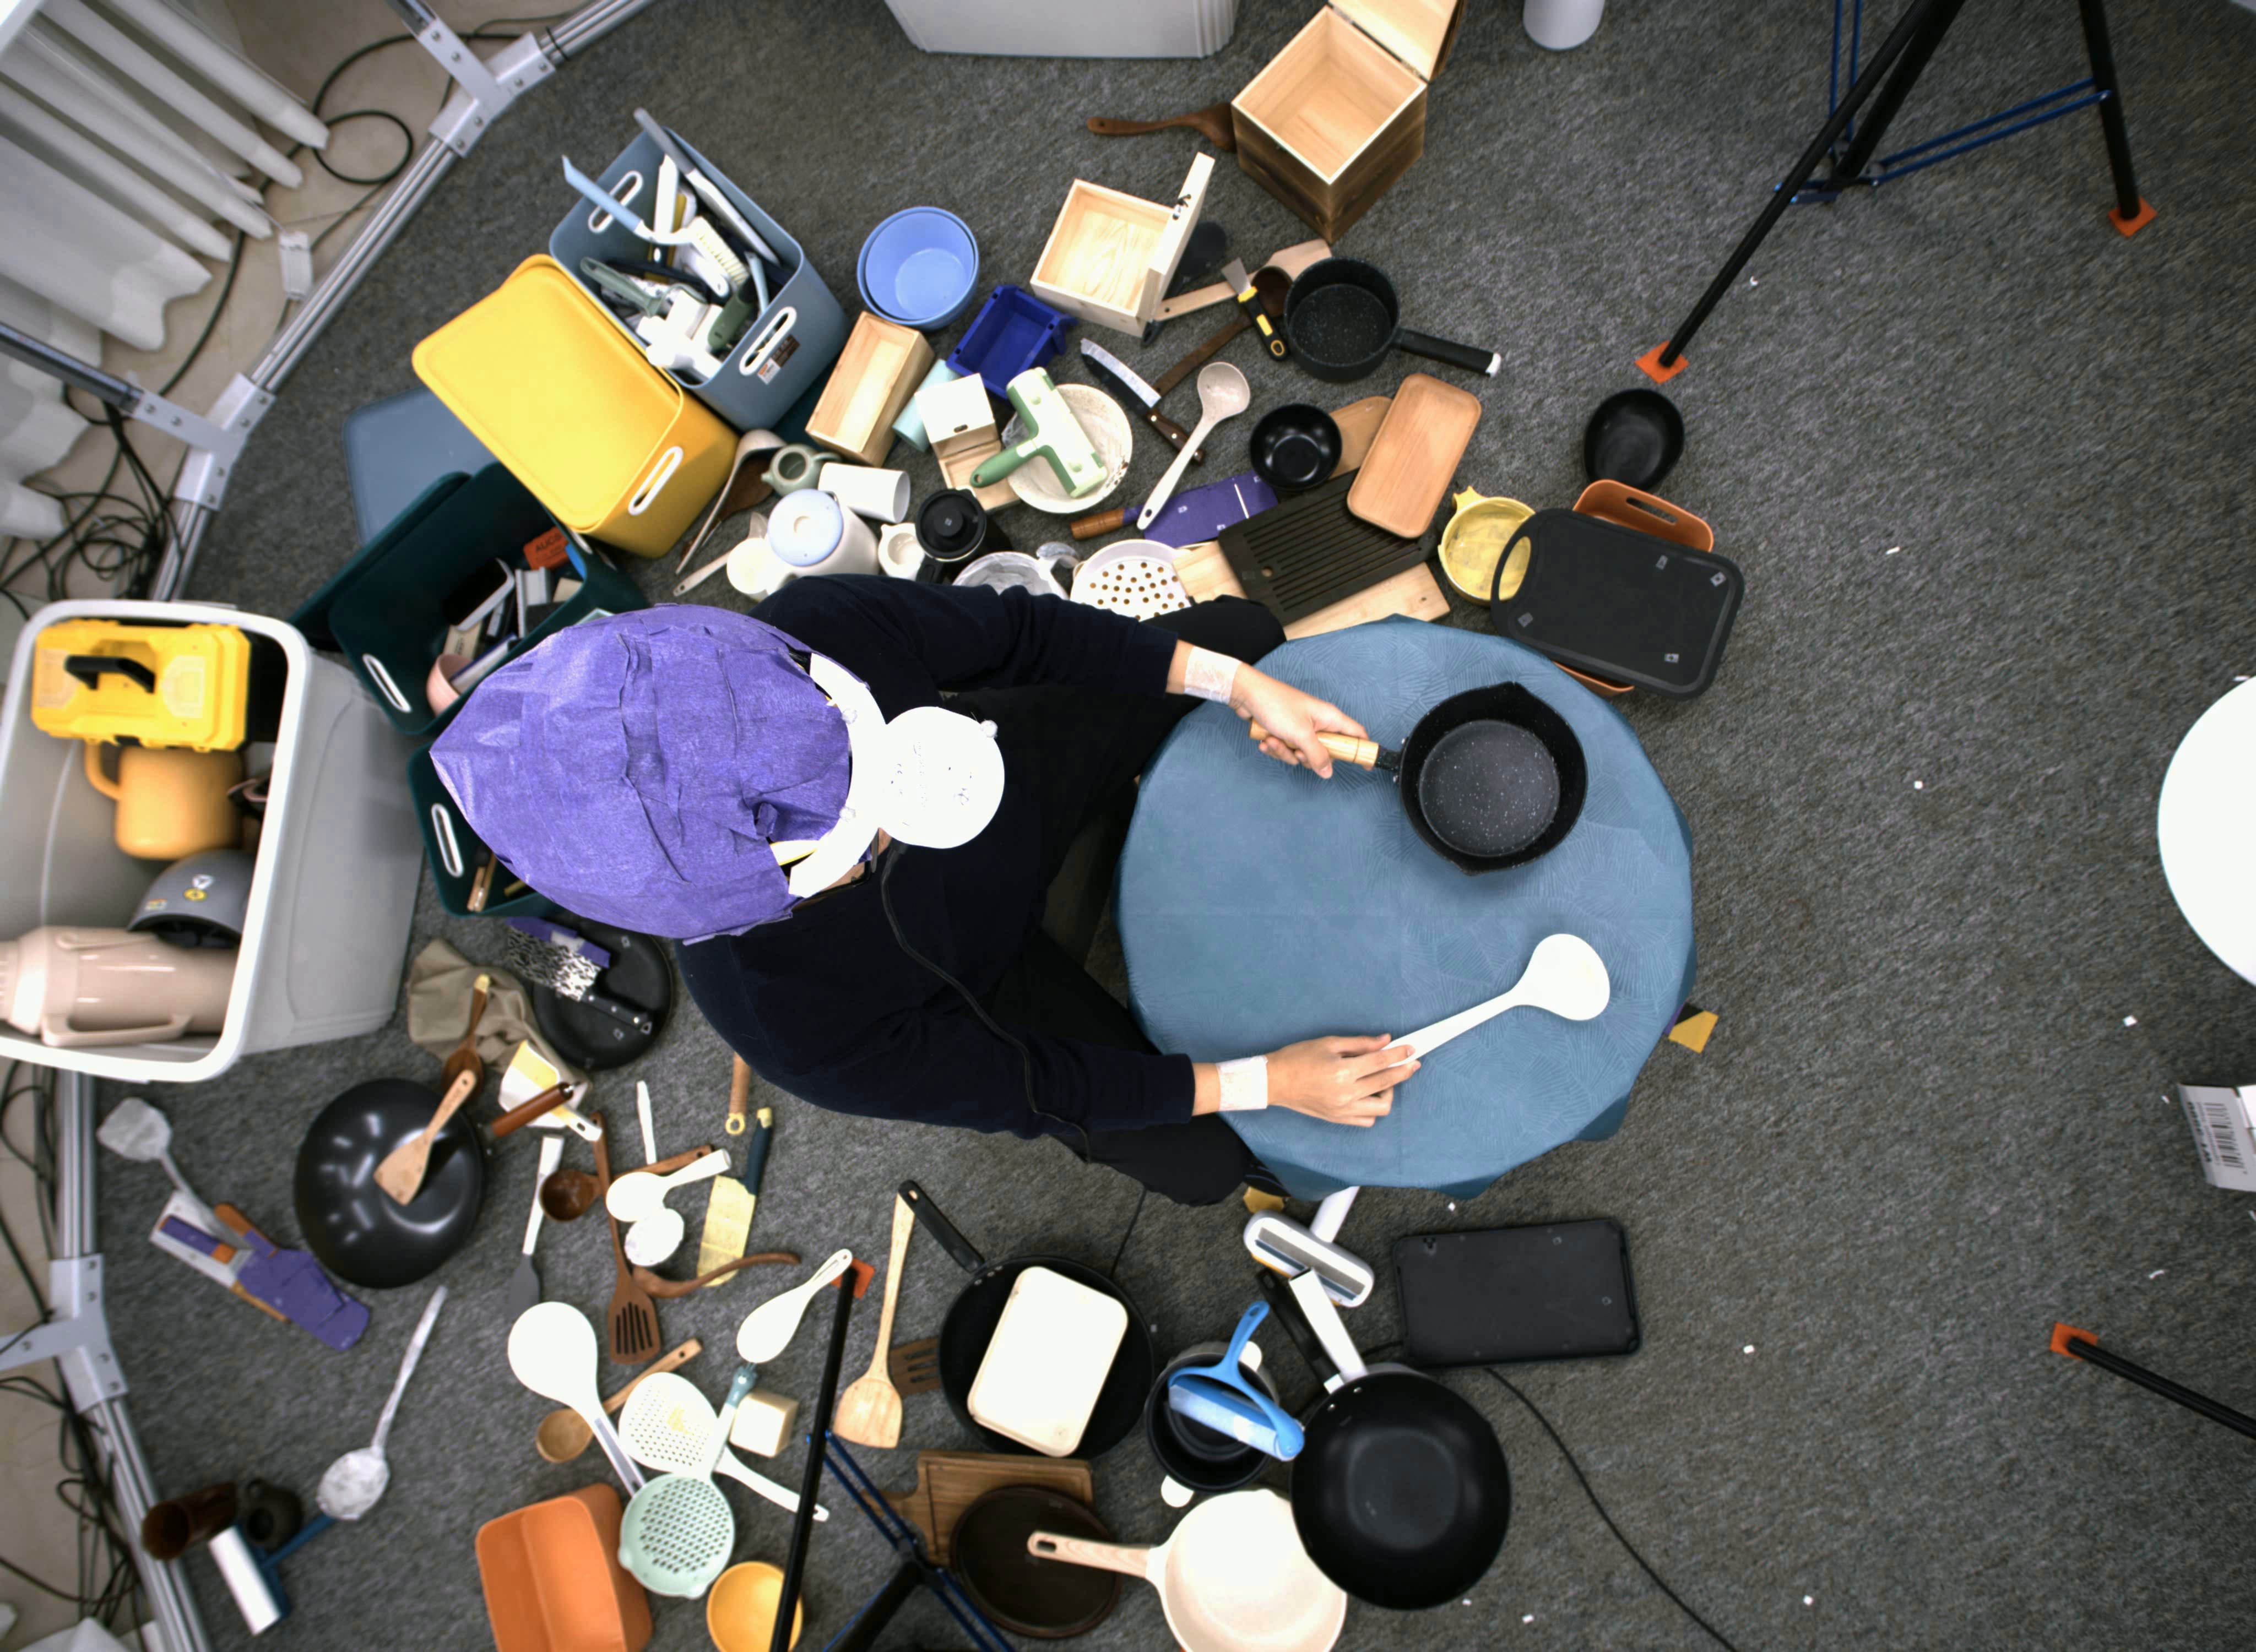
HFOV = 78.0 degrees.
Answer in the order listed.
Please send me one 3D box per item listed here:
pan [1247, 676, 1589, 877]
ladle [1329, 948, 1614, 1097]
[{"bbox_3d":[0.292,-0.062,1.409,0.343,0.108,0.207,11,89,12],"label":"pan"},{"bbox_3d":[0.346,0.208,1.404,0.294,0.069,0.090,-25,96,7],"label":"ladle"}]
